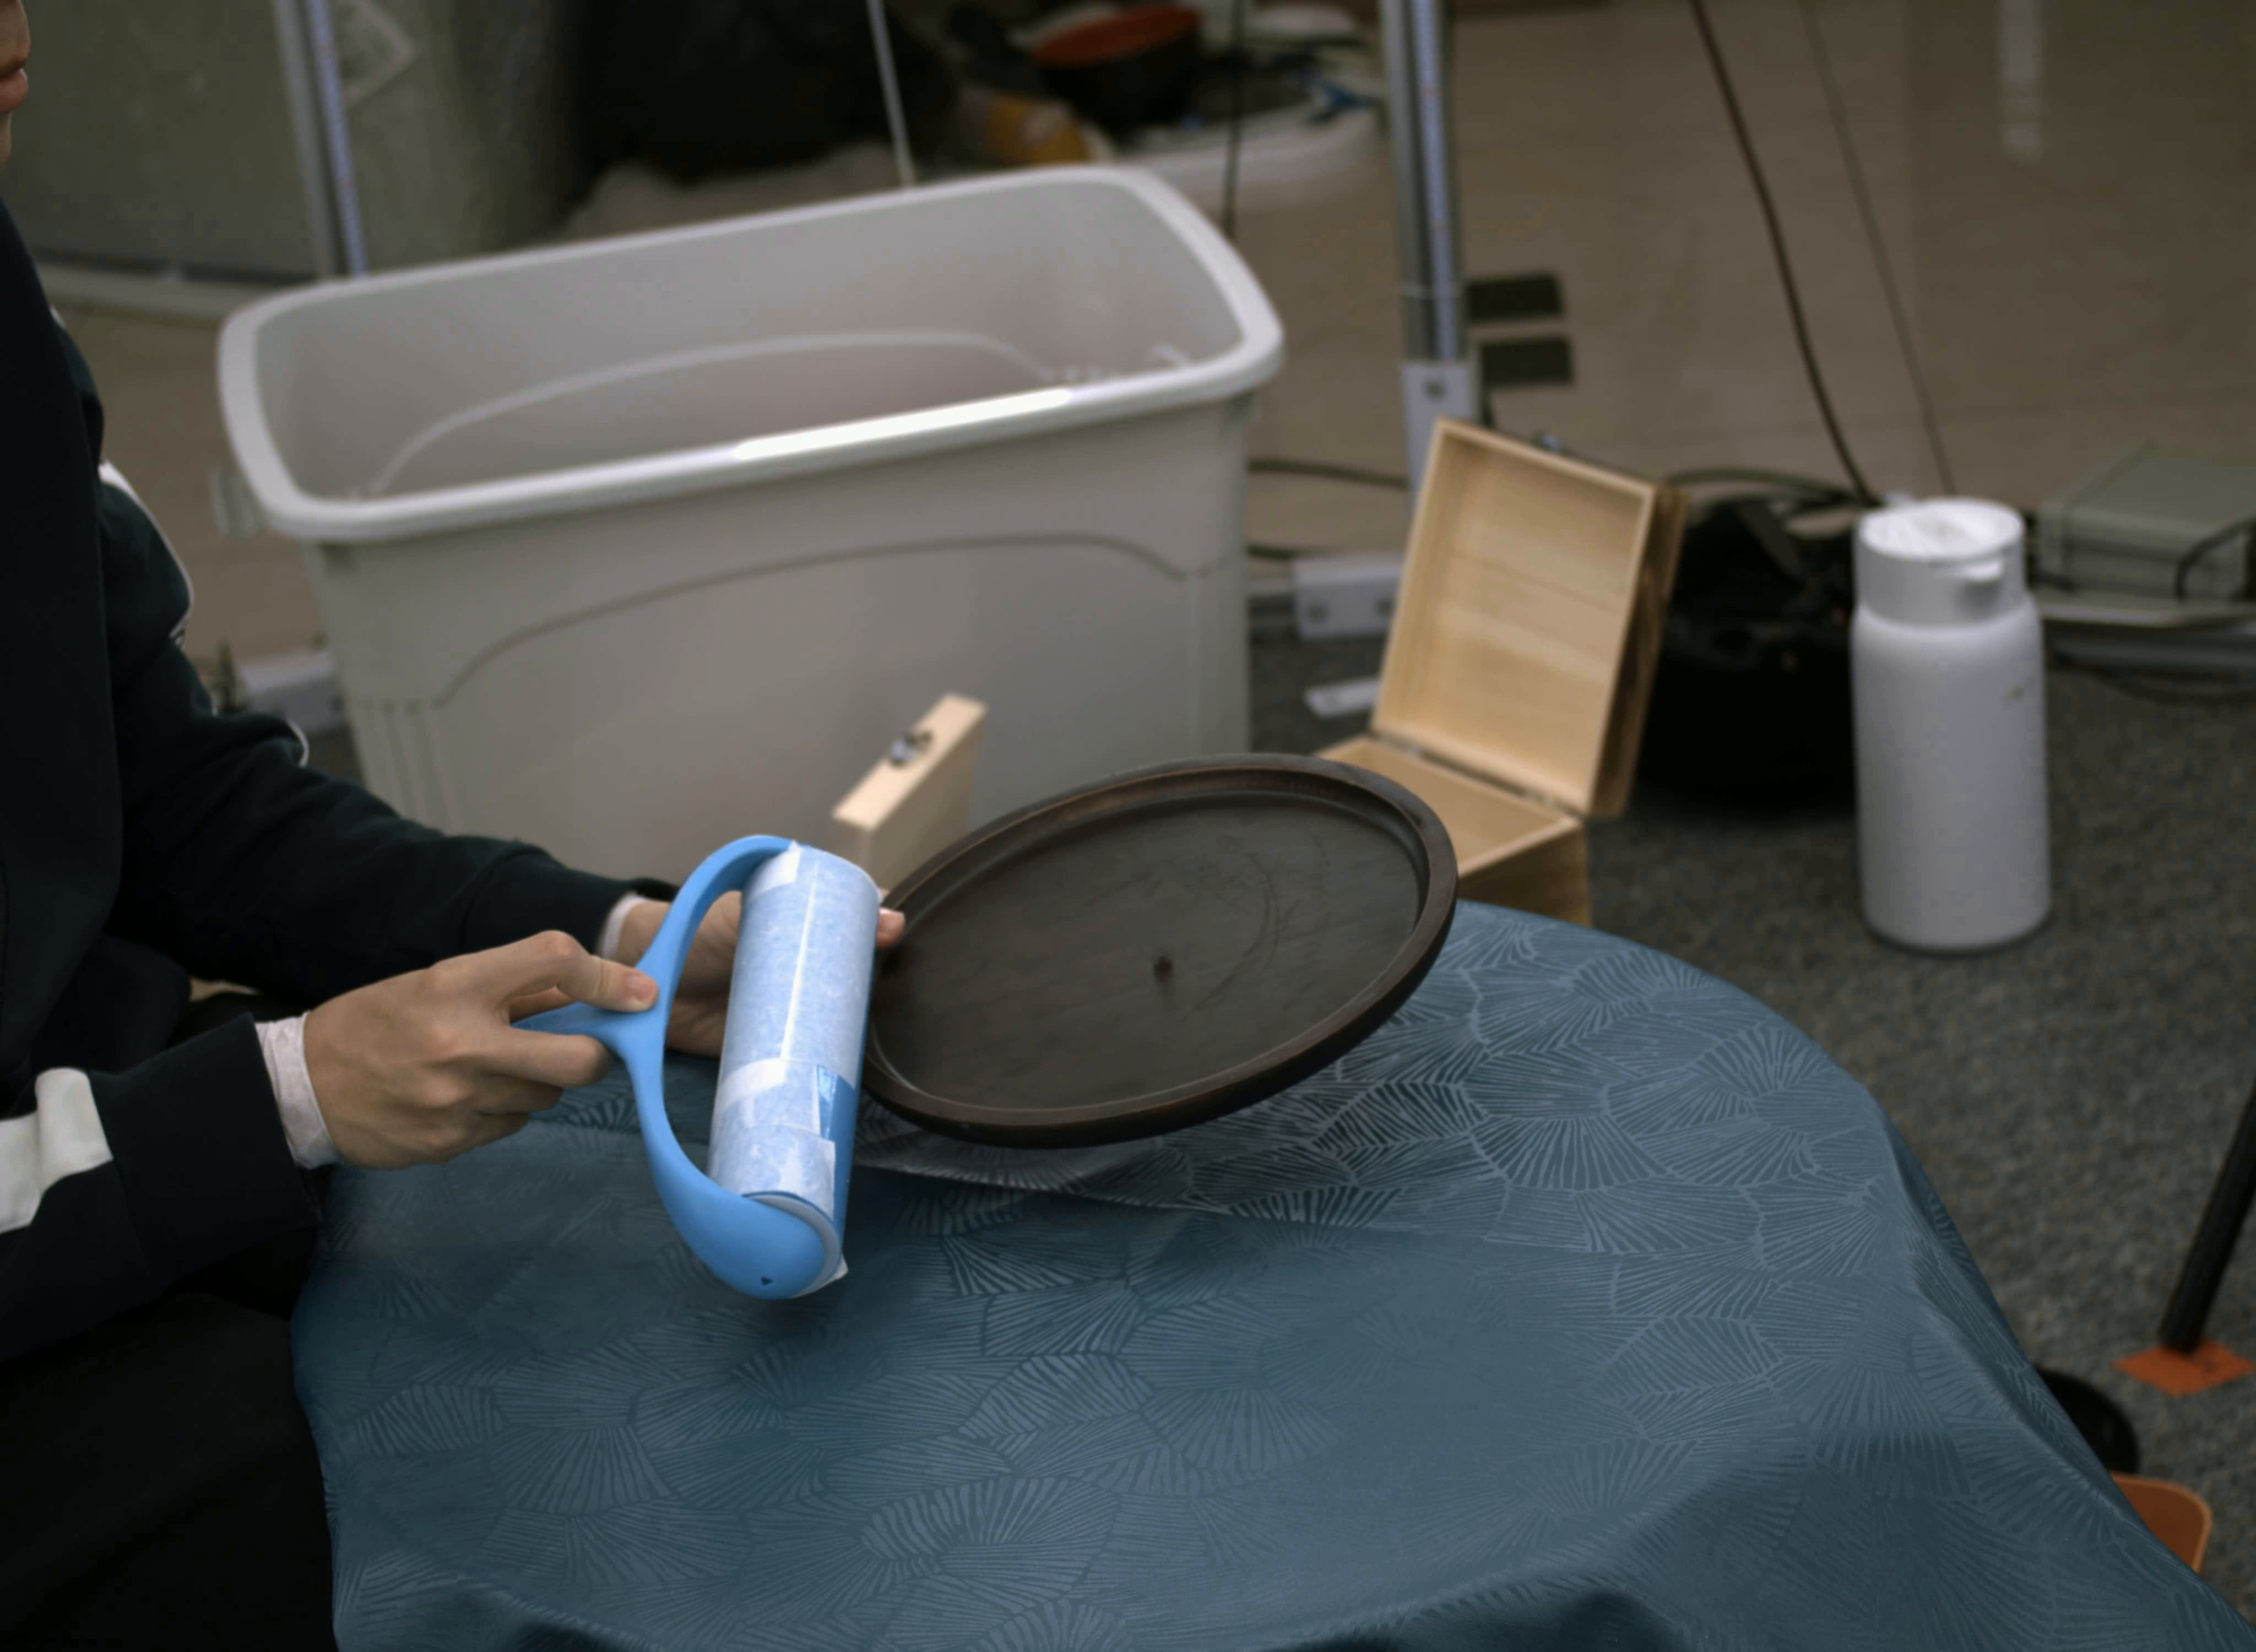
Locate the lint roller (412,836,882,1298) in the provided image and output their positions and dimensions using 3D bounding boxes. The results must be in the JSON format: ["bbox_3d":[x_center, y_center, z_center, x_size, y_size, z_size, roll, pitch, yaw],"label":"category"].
[{"bbox_3d":[-0.184,0.093,2.128,0.180,0.069,0.225,-3,42,2],"label":"lint roller"}]

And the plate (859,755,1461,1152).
[{"bbox_3d":[0.007,0.048,2.187,0.254,0.029,0.250,-12,29,7],"label":"plate"}]
